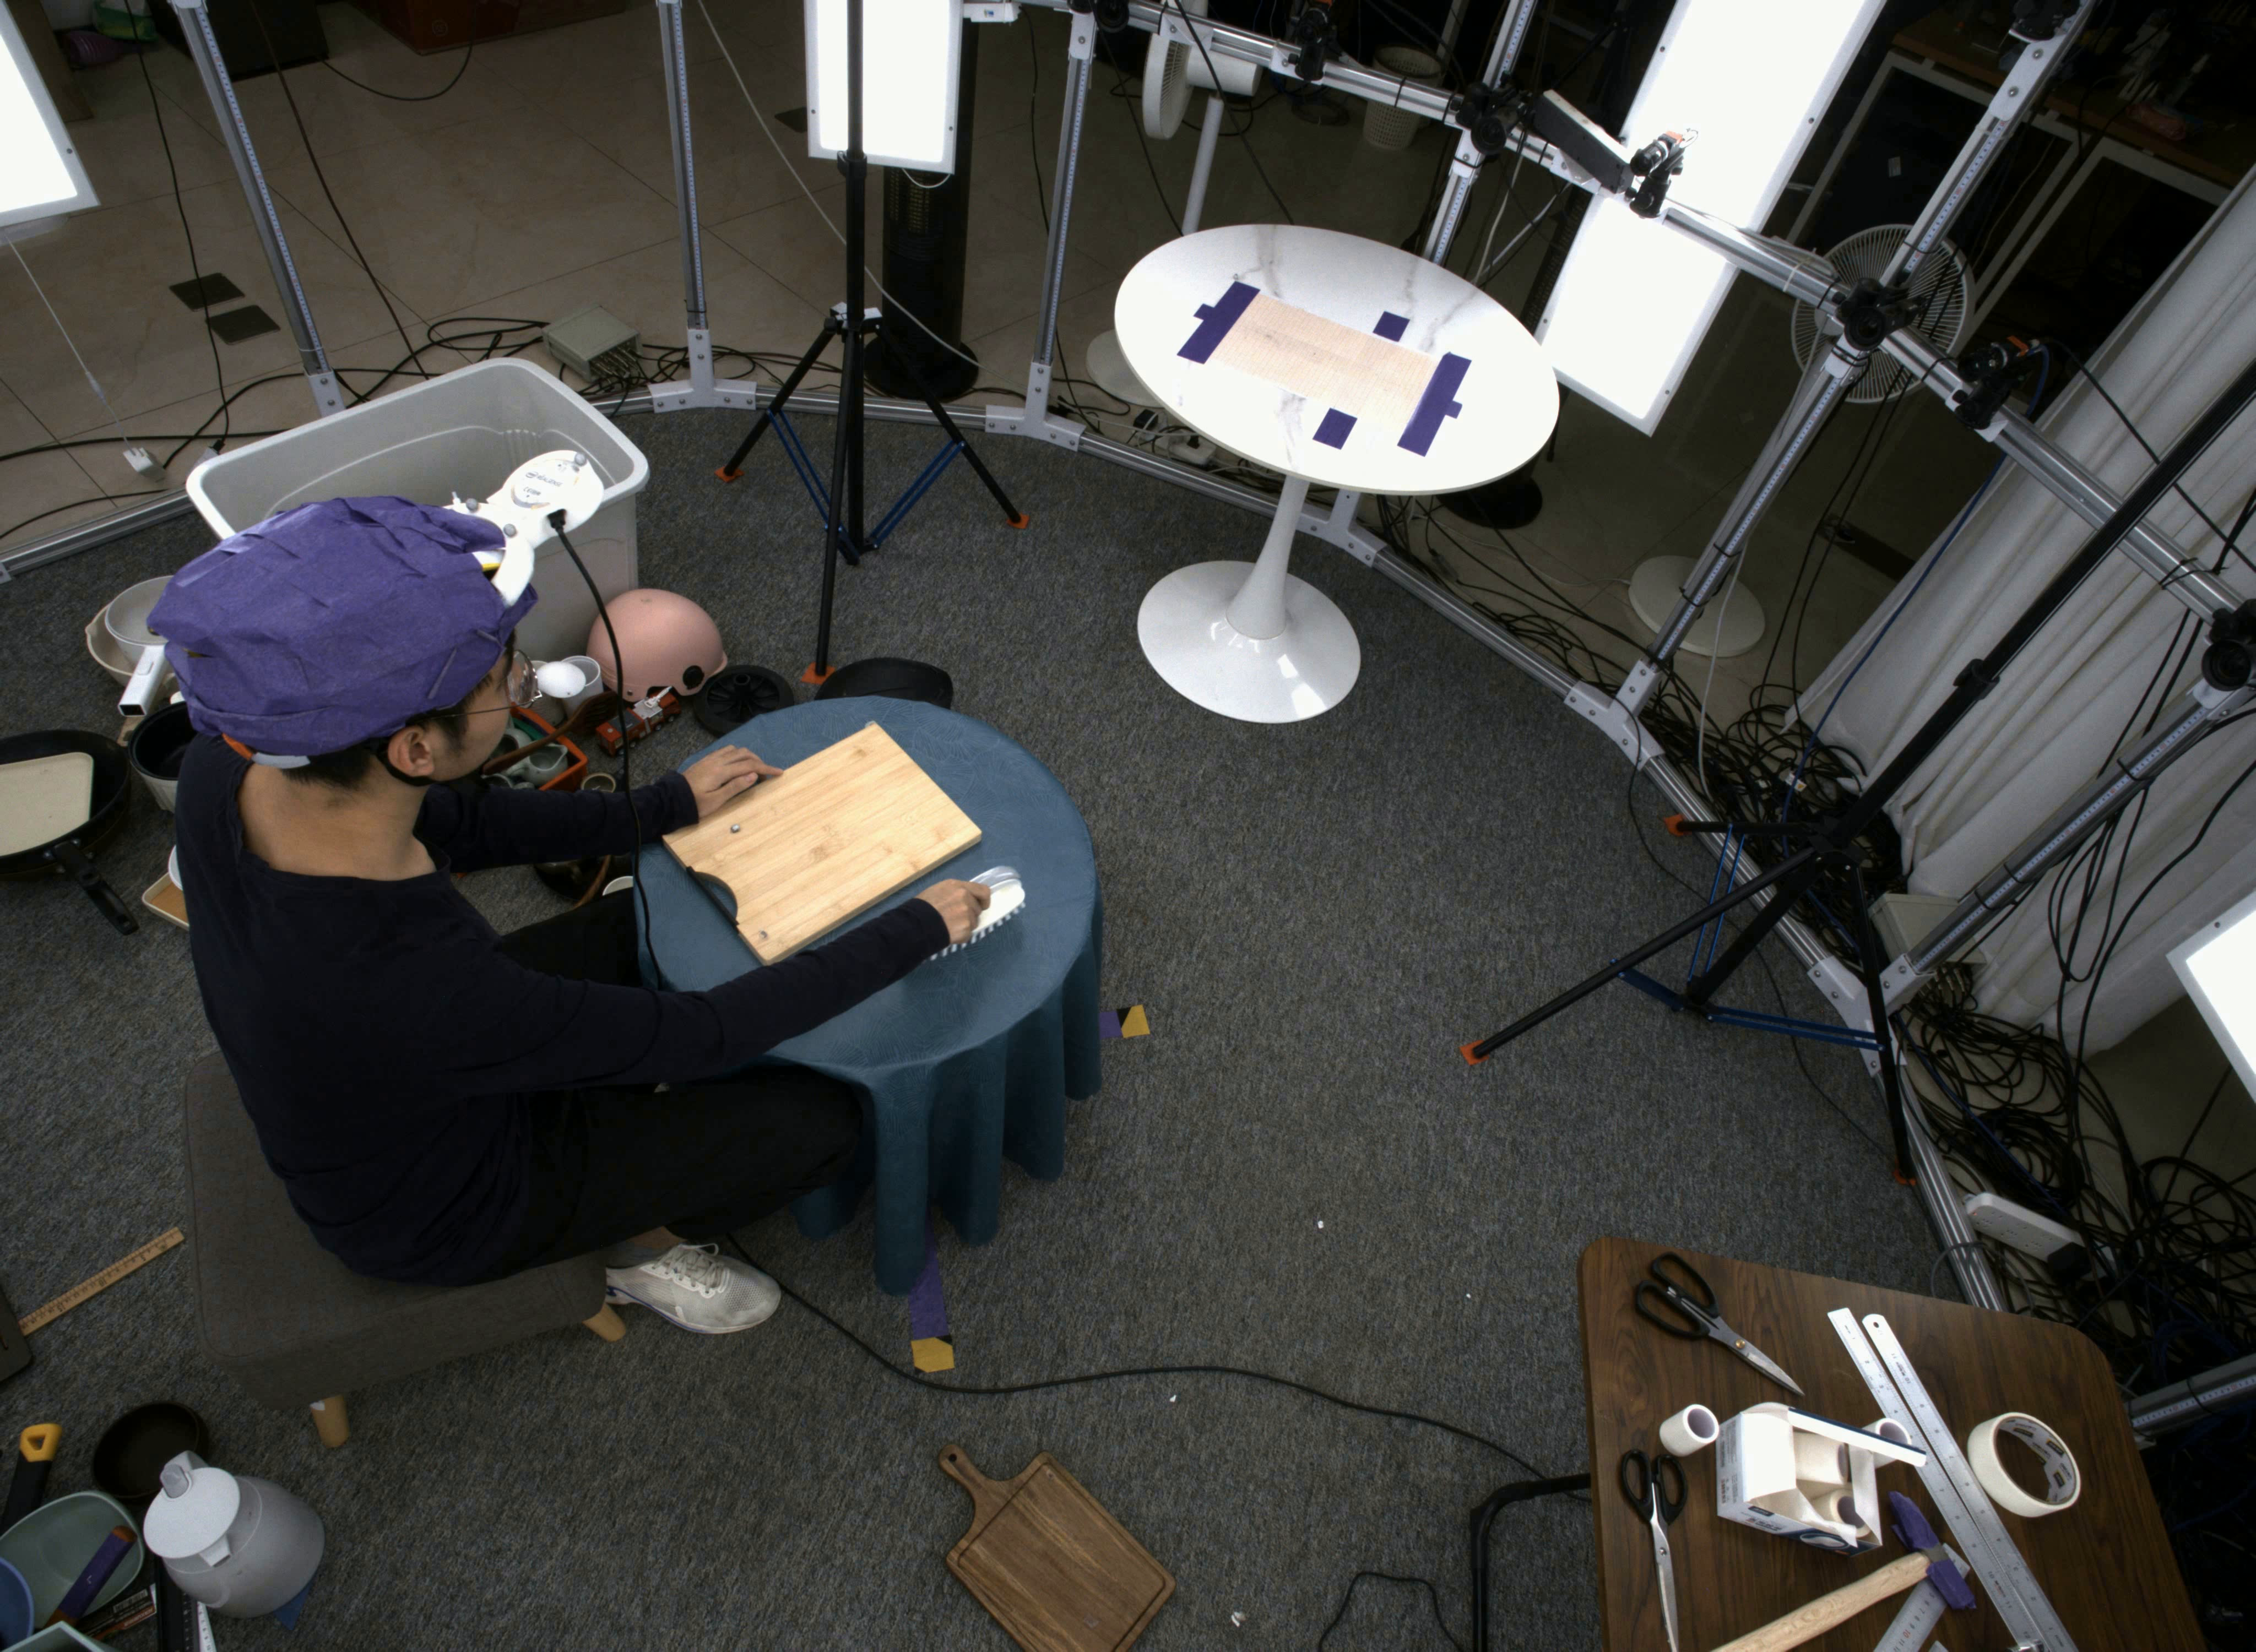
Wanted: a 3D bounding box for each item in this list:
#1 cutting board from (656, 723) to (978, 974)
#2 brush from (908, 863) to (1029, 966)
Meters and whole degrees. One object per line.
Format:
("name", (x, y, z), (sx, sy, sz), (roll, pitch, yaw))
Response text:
("cutting board", (-0.403, 0.018, 1.708), (0.349, 0.024, 0.245), (-34, 68, -32))
("brush", (-0.202, 0.104, 1.613), (0.176, 0.096, 0.060), (-34, 69, -24))
